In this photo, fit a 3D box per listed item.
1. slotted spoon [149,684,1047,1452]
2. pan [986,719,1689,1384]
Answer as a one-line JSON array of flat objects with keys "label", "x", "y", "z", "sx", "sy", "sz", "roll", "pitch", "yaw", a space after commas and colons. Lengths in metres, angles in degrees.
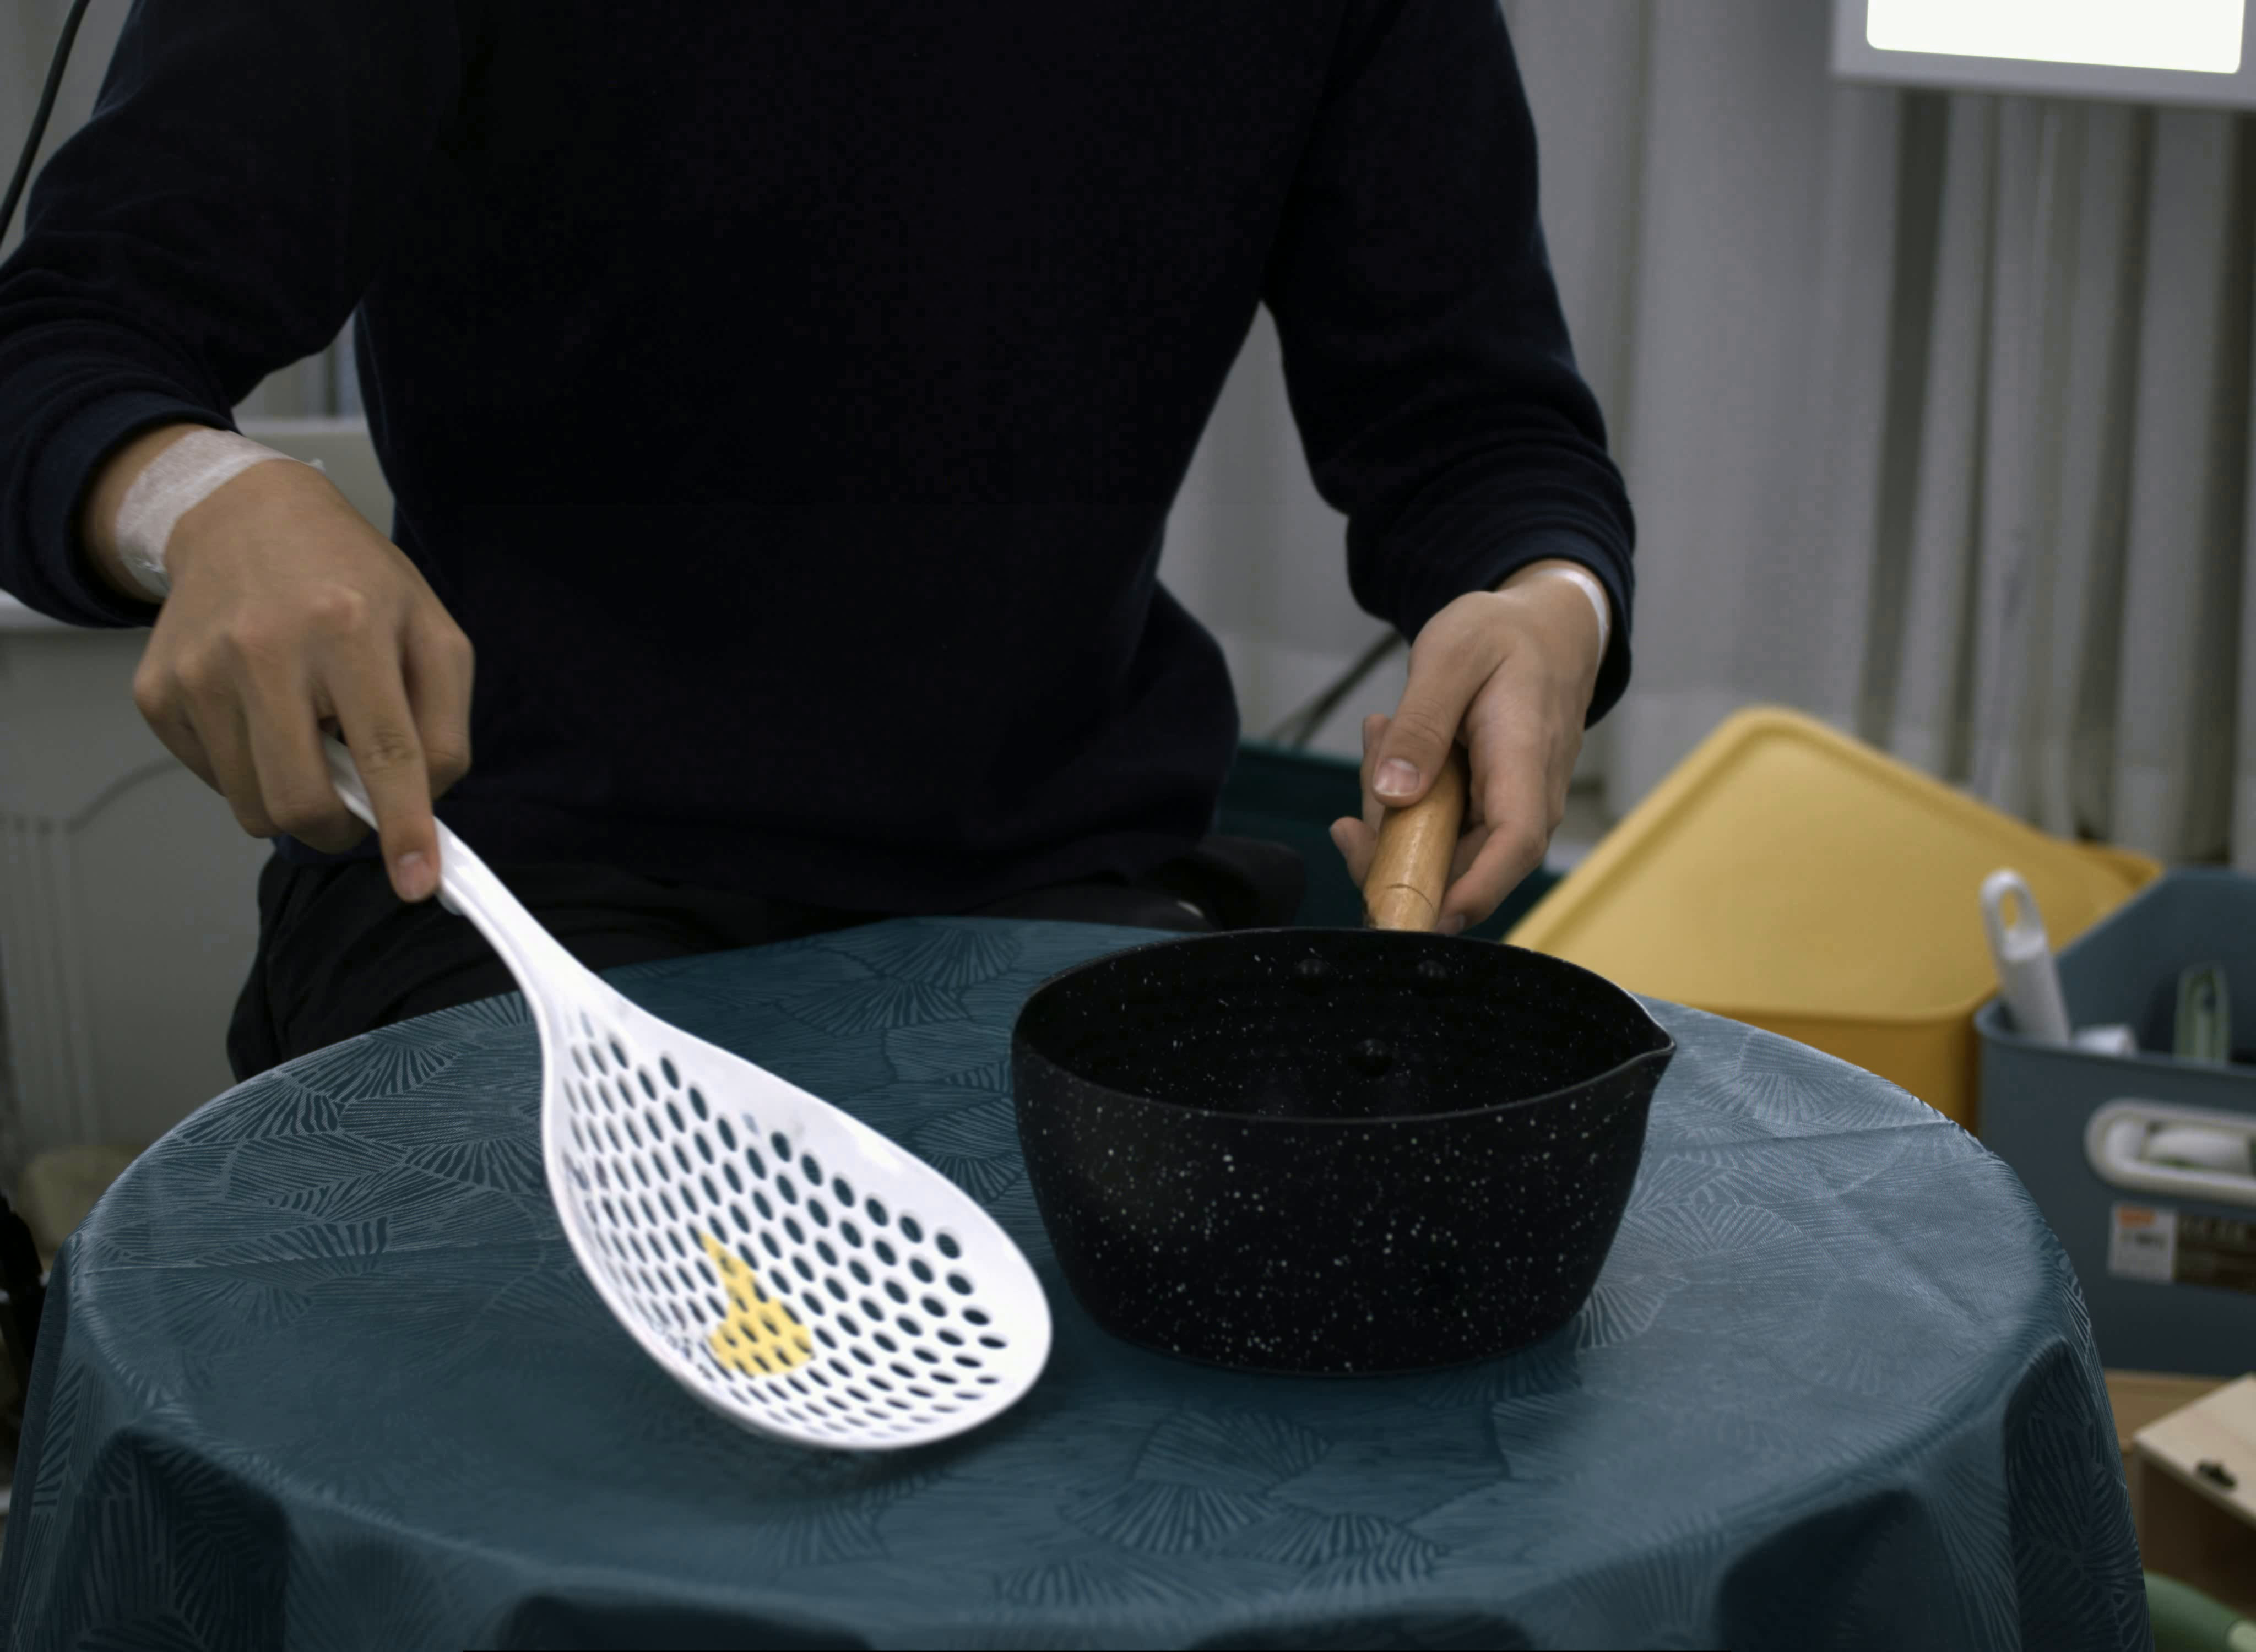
[{"label": "slotted spoon", "x": -0.163, "y": 0.059, "z": 1.487, "sx": 0.137, "sy": 0.050, "sz": 0.344, "roll": -18, "pitch": 58, "yaw": -47}, {"label": "pan", "x": 0.072, "y": 0.063, "z": 1.601, "sx": 0.206, "sy": 0.109, "sz": 0.342, "roll": 2, "pitch": 17, "yaw": 9}]
